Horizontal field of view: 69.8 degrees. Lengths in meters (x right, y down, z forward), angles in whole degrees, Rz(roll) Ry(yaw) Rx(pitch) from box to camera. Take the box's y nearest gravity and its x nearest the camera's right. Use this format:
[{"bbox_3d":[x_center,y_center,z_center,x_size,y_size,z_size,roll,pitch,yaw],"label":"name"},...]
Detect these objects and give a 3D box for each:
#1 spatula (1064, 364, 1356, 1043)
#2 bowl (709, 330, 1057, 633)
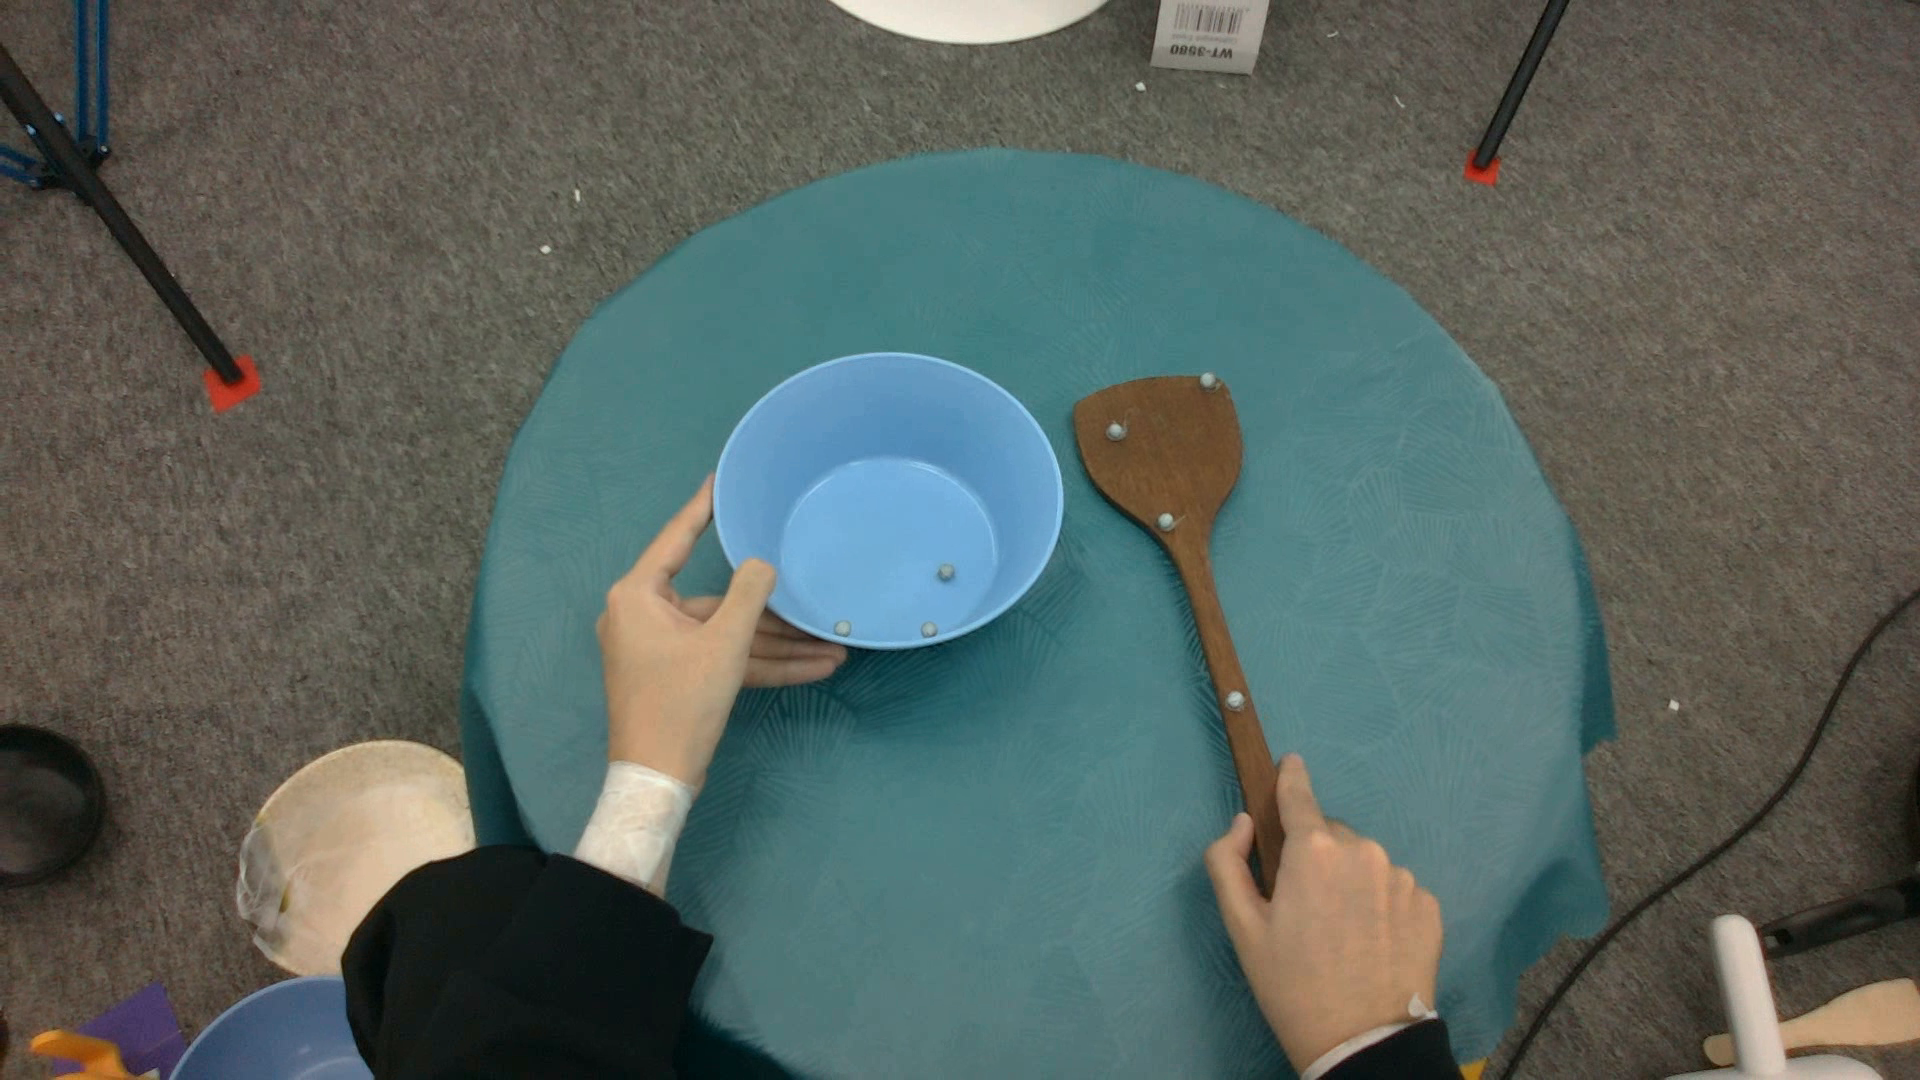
[{"bbox_3d":[0.134,0.059,0.708,0.096,0.016,0.387,-7,57,-6],"label":"spatula"},{"bbox_3d":[-0.040,-0.020,0.720,0.176,0.070,0.177,1,62,-2],"label":"bowl"}]
